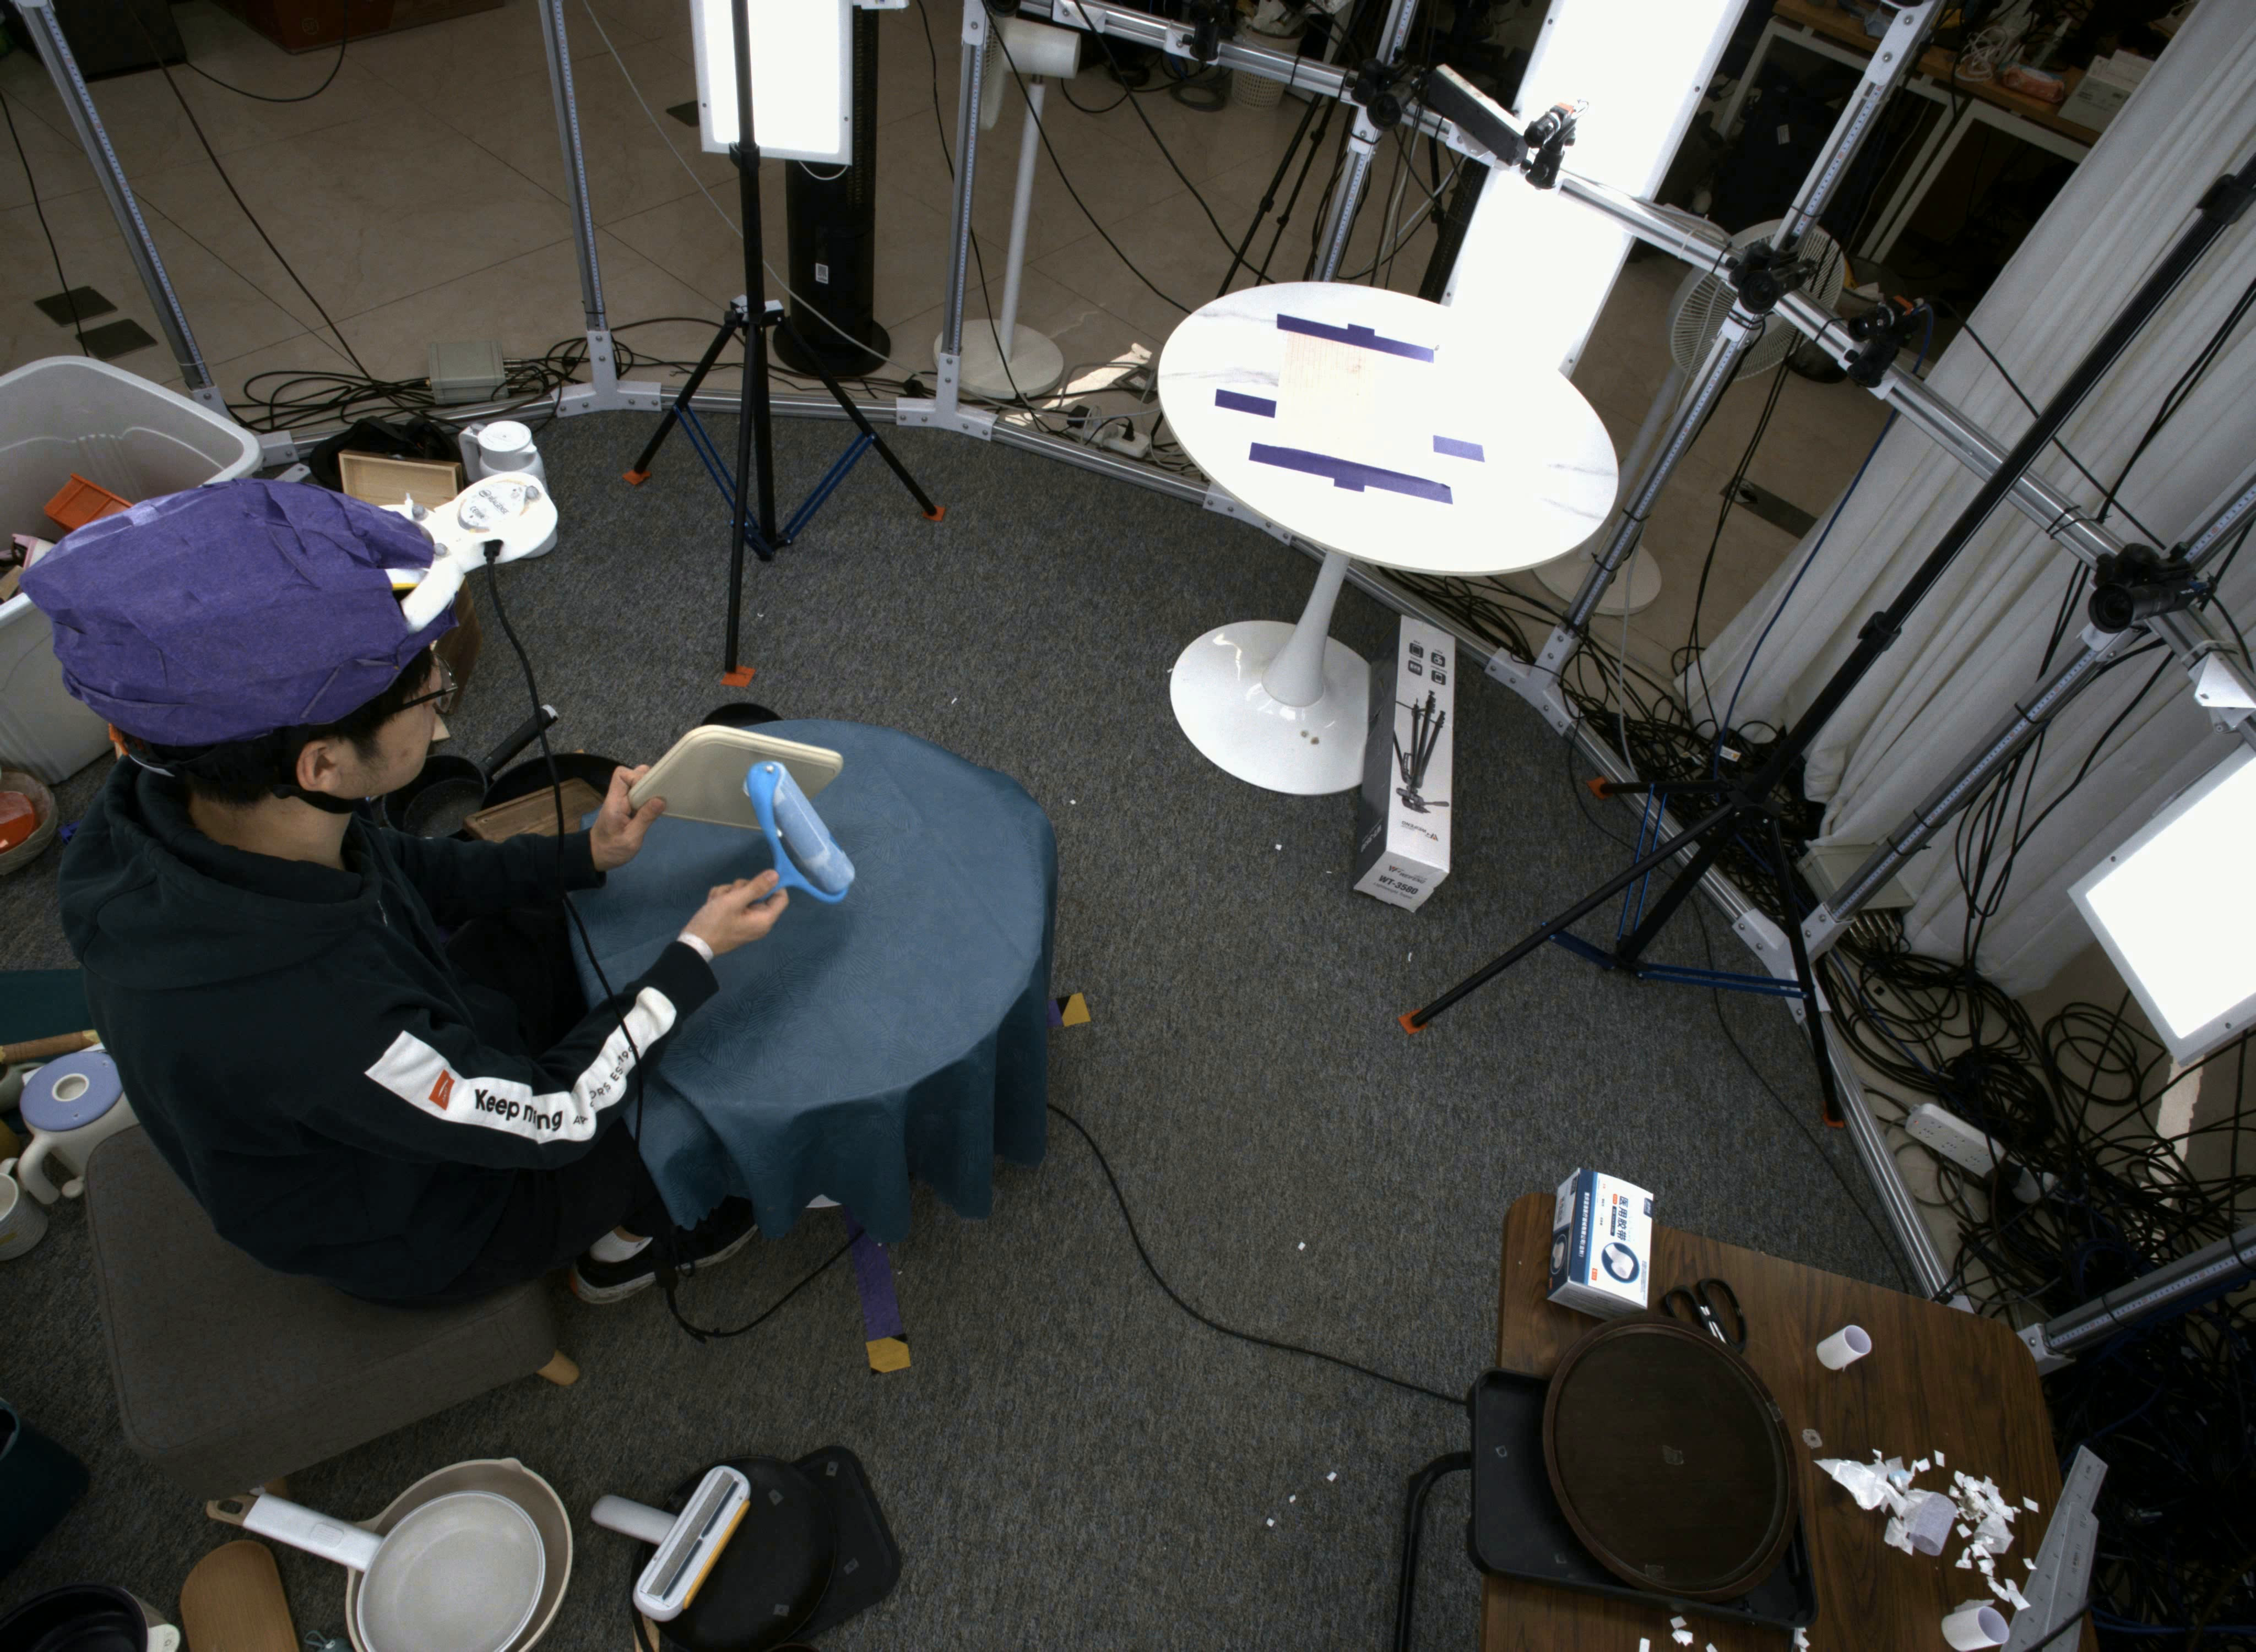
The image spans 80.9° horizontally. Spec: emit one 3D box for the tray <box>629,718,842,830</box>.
[{"bbox_3d":[-0.476,-0.057,1.579,0.246,0.170,0.017,12,44,-56],"label":"tray"}]

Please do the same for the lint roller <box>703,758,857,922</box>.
[{"bbox_3d":[-0.420,0.048,1.526,0.065,0.237,0.180,21,64,31],"label":"lint roller"}]
